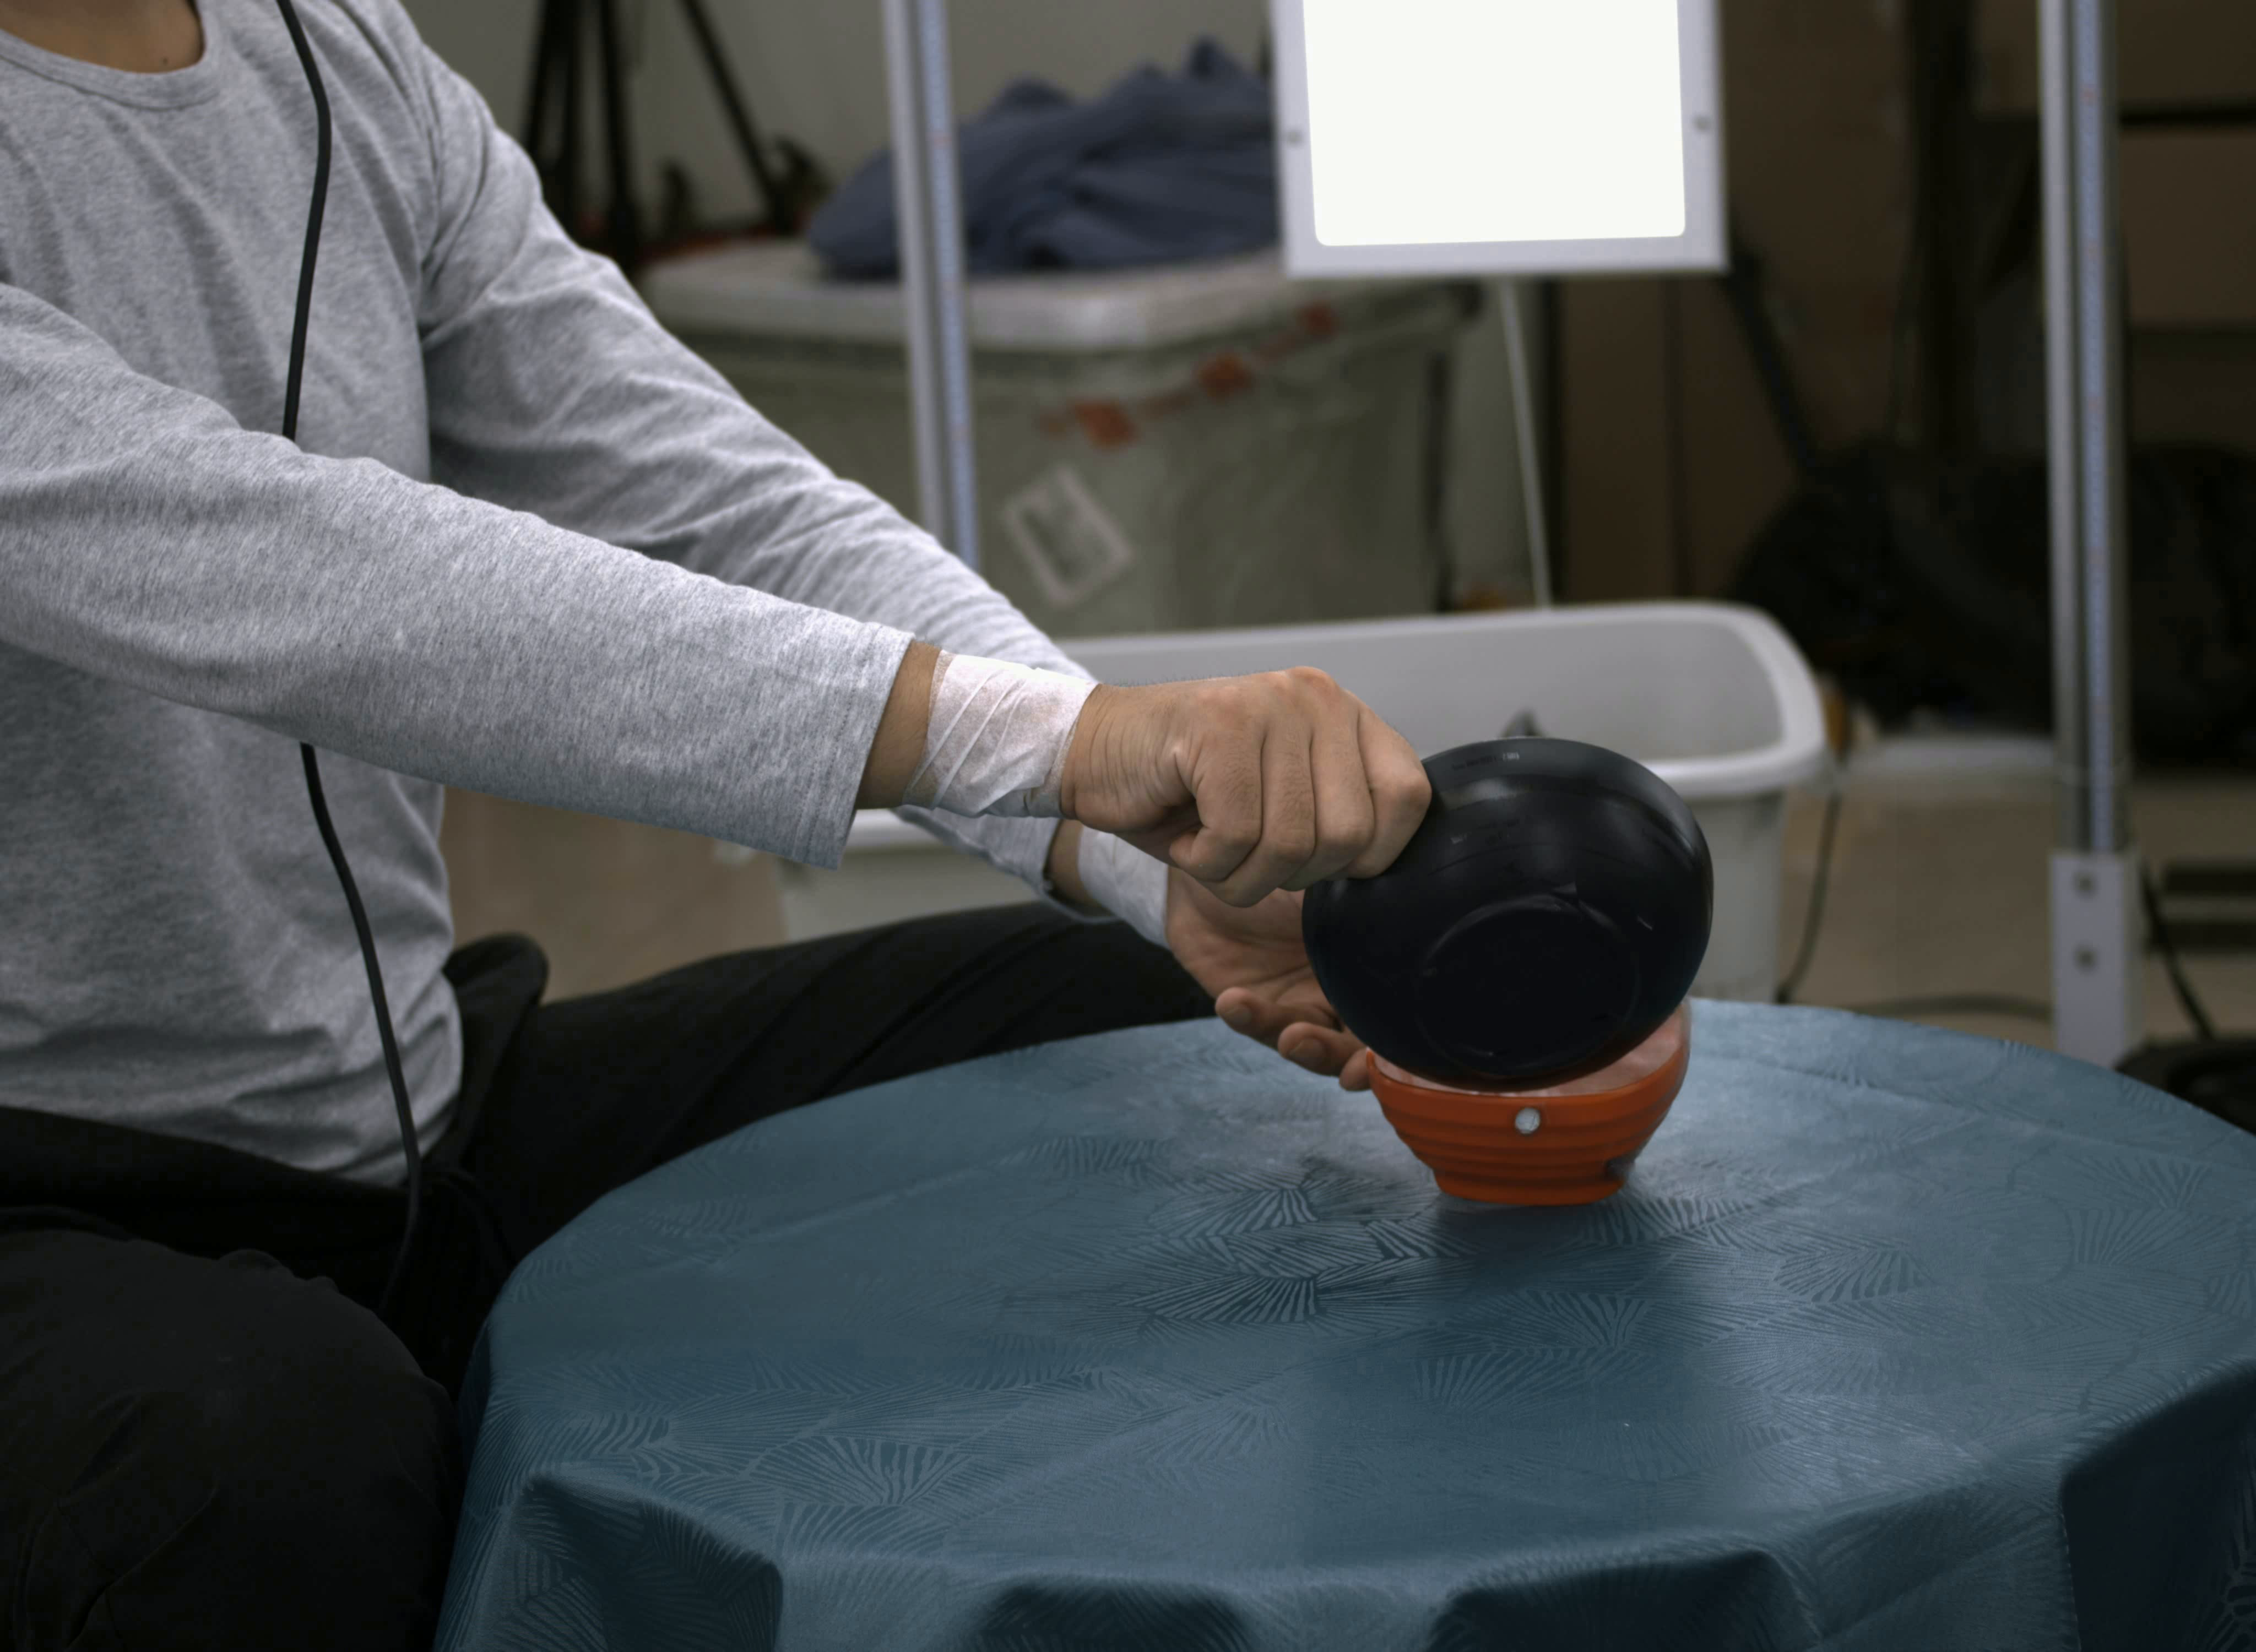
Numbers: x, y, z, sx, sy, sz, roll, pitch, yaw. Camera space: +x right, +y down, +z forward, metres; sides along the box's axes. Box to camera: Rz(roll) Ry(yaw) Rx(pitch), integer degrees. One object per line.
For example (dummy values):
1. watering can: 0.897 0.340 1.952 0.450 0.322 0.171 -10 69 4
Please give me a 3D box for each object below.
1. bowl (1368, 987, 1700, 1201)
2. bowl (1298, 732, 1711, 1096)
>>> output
1. bowl: 0.139 0.090 1.871 0.118 0.051 0.118 -4 21 0
2. bowl: 0.128 0.039 1.798 0.139 0.141 0.050 -5 37 -5
